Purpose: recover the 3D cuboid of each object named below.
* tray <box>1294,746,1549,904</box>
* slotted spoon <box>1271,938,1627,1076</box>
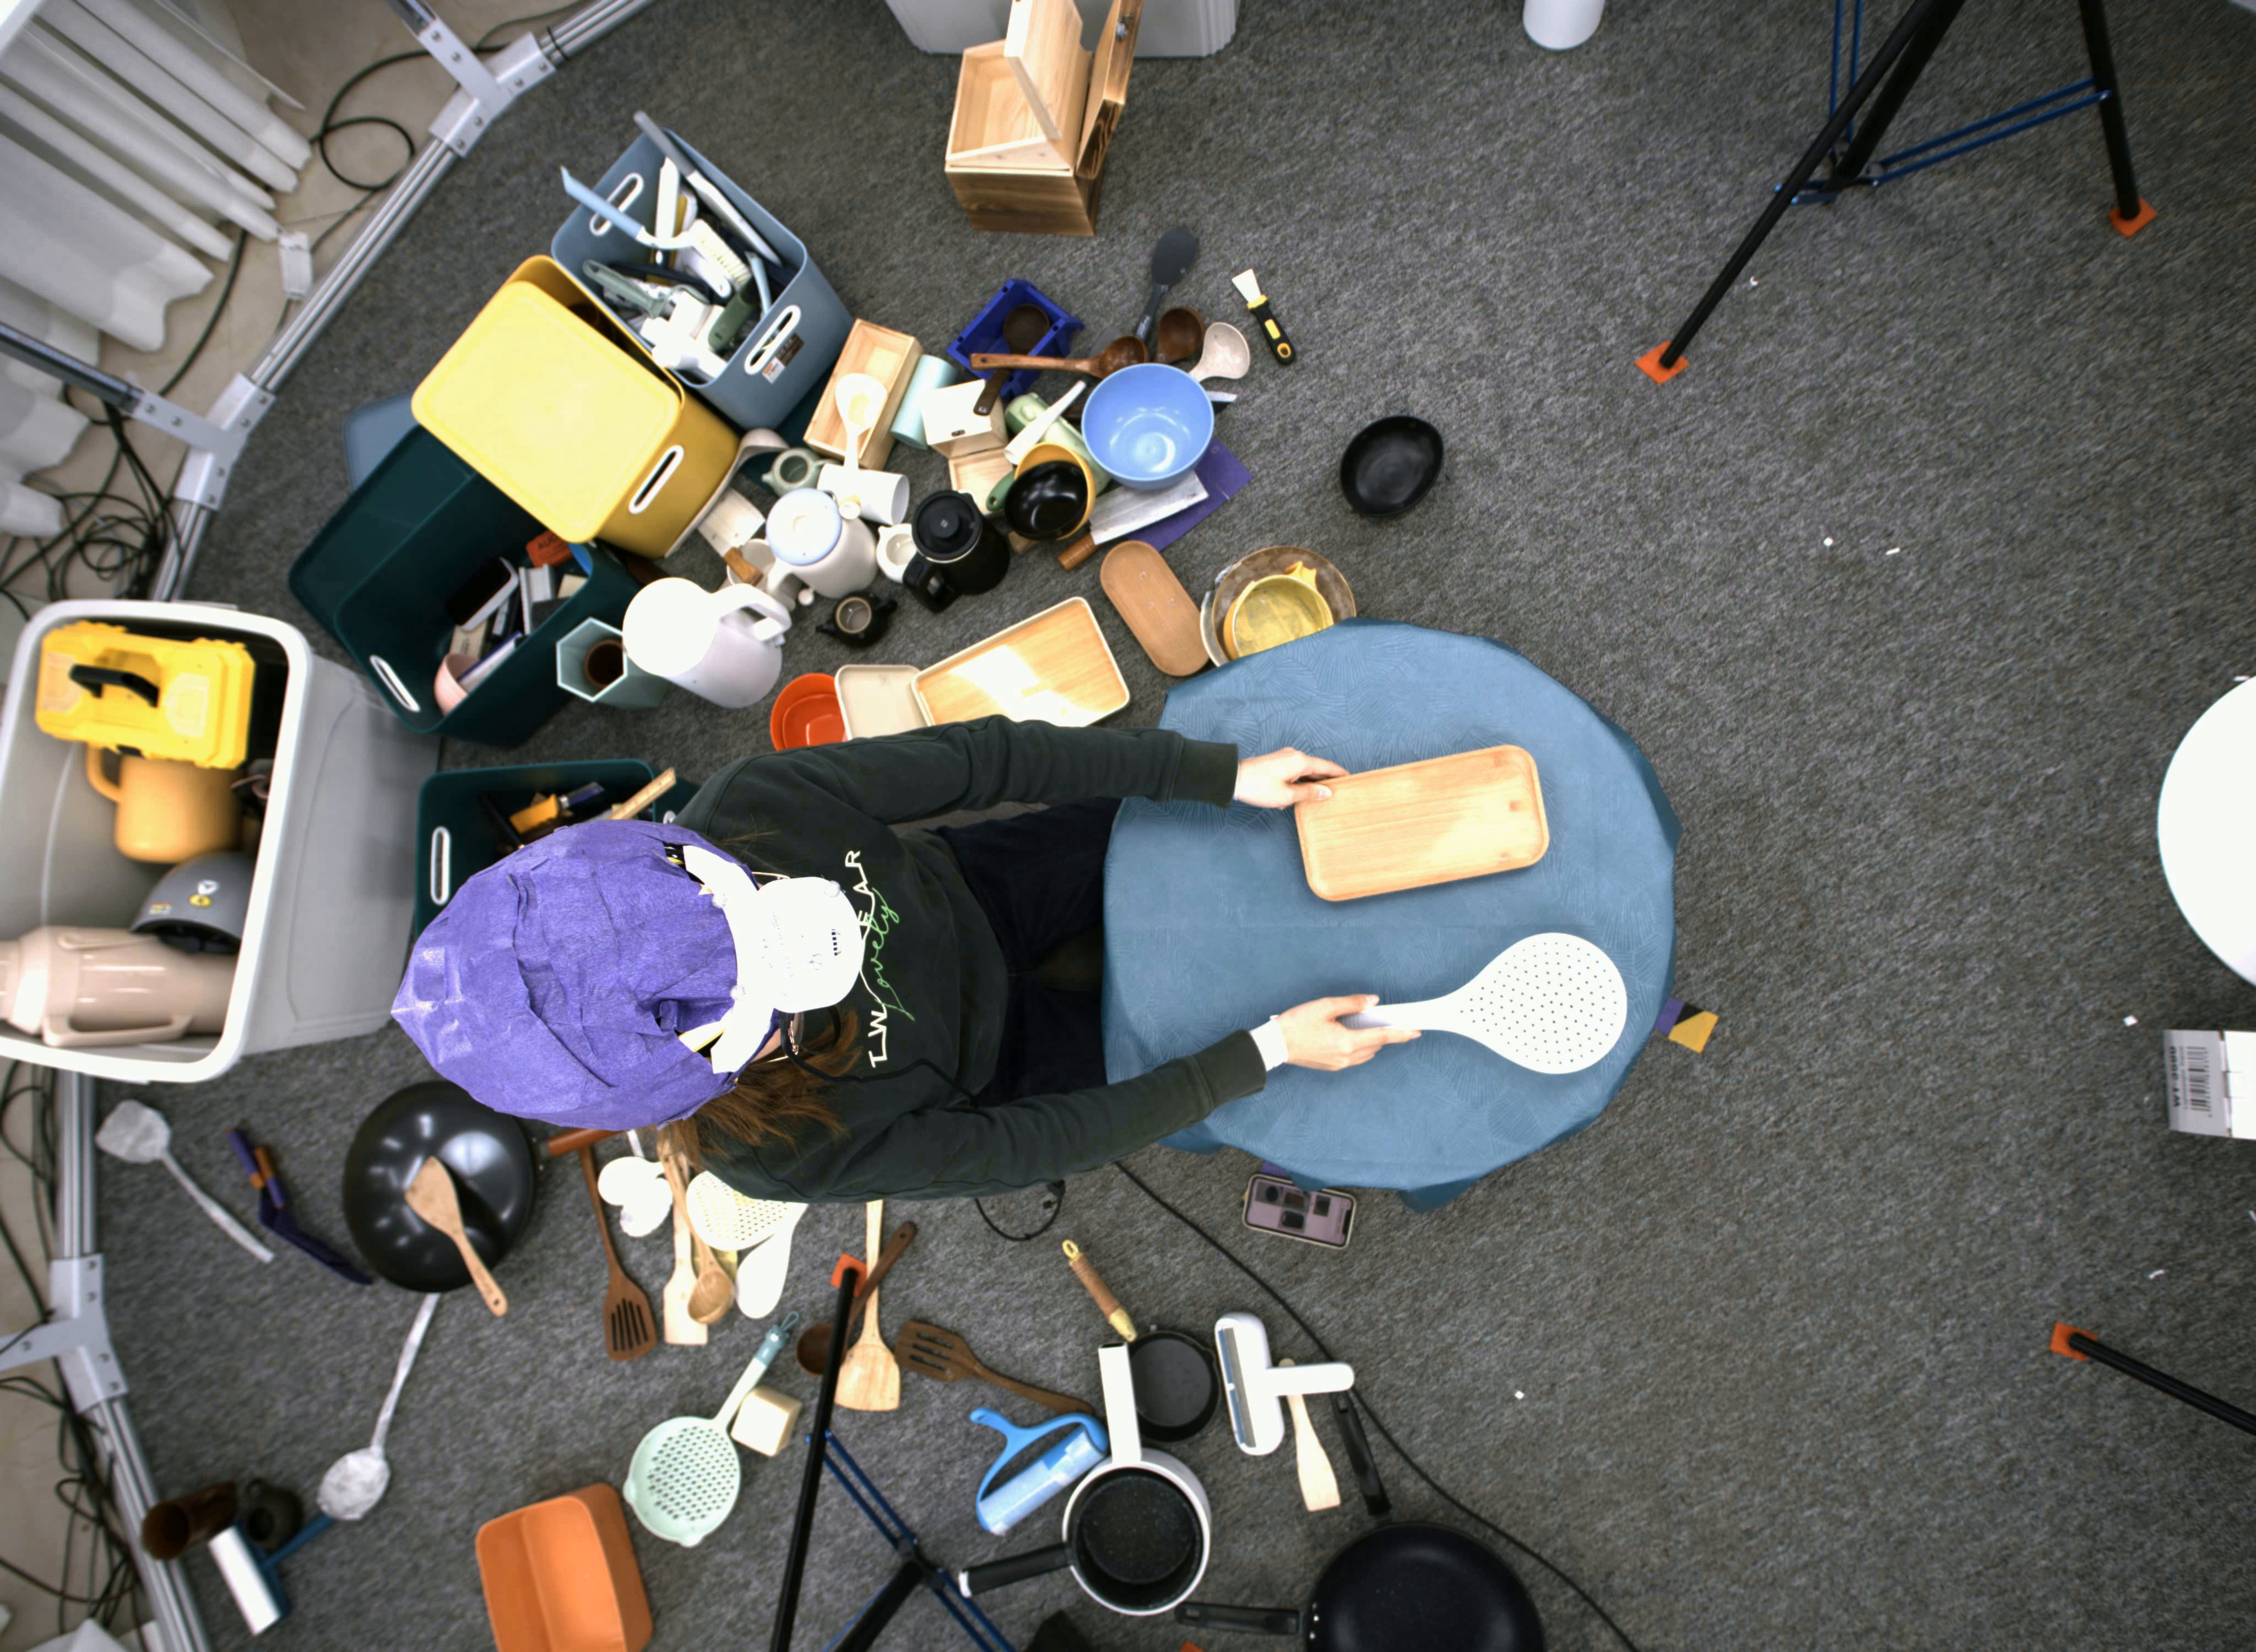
[{"bbox_3d":[0.303,-0.002,1.425,0.252,0.023,0.130,-11,93,10],"label":"tray"},{"bbox_3d":[0.318,0.190,1.391,0.351,0.046,0.135,-6,84,9],"label":"slotted spoon"}]
